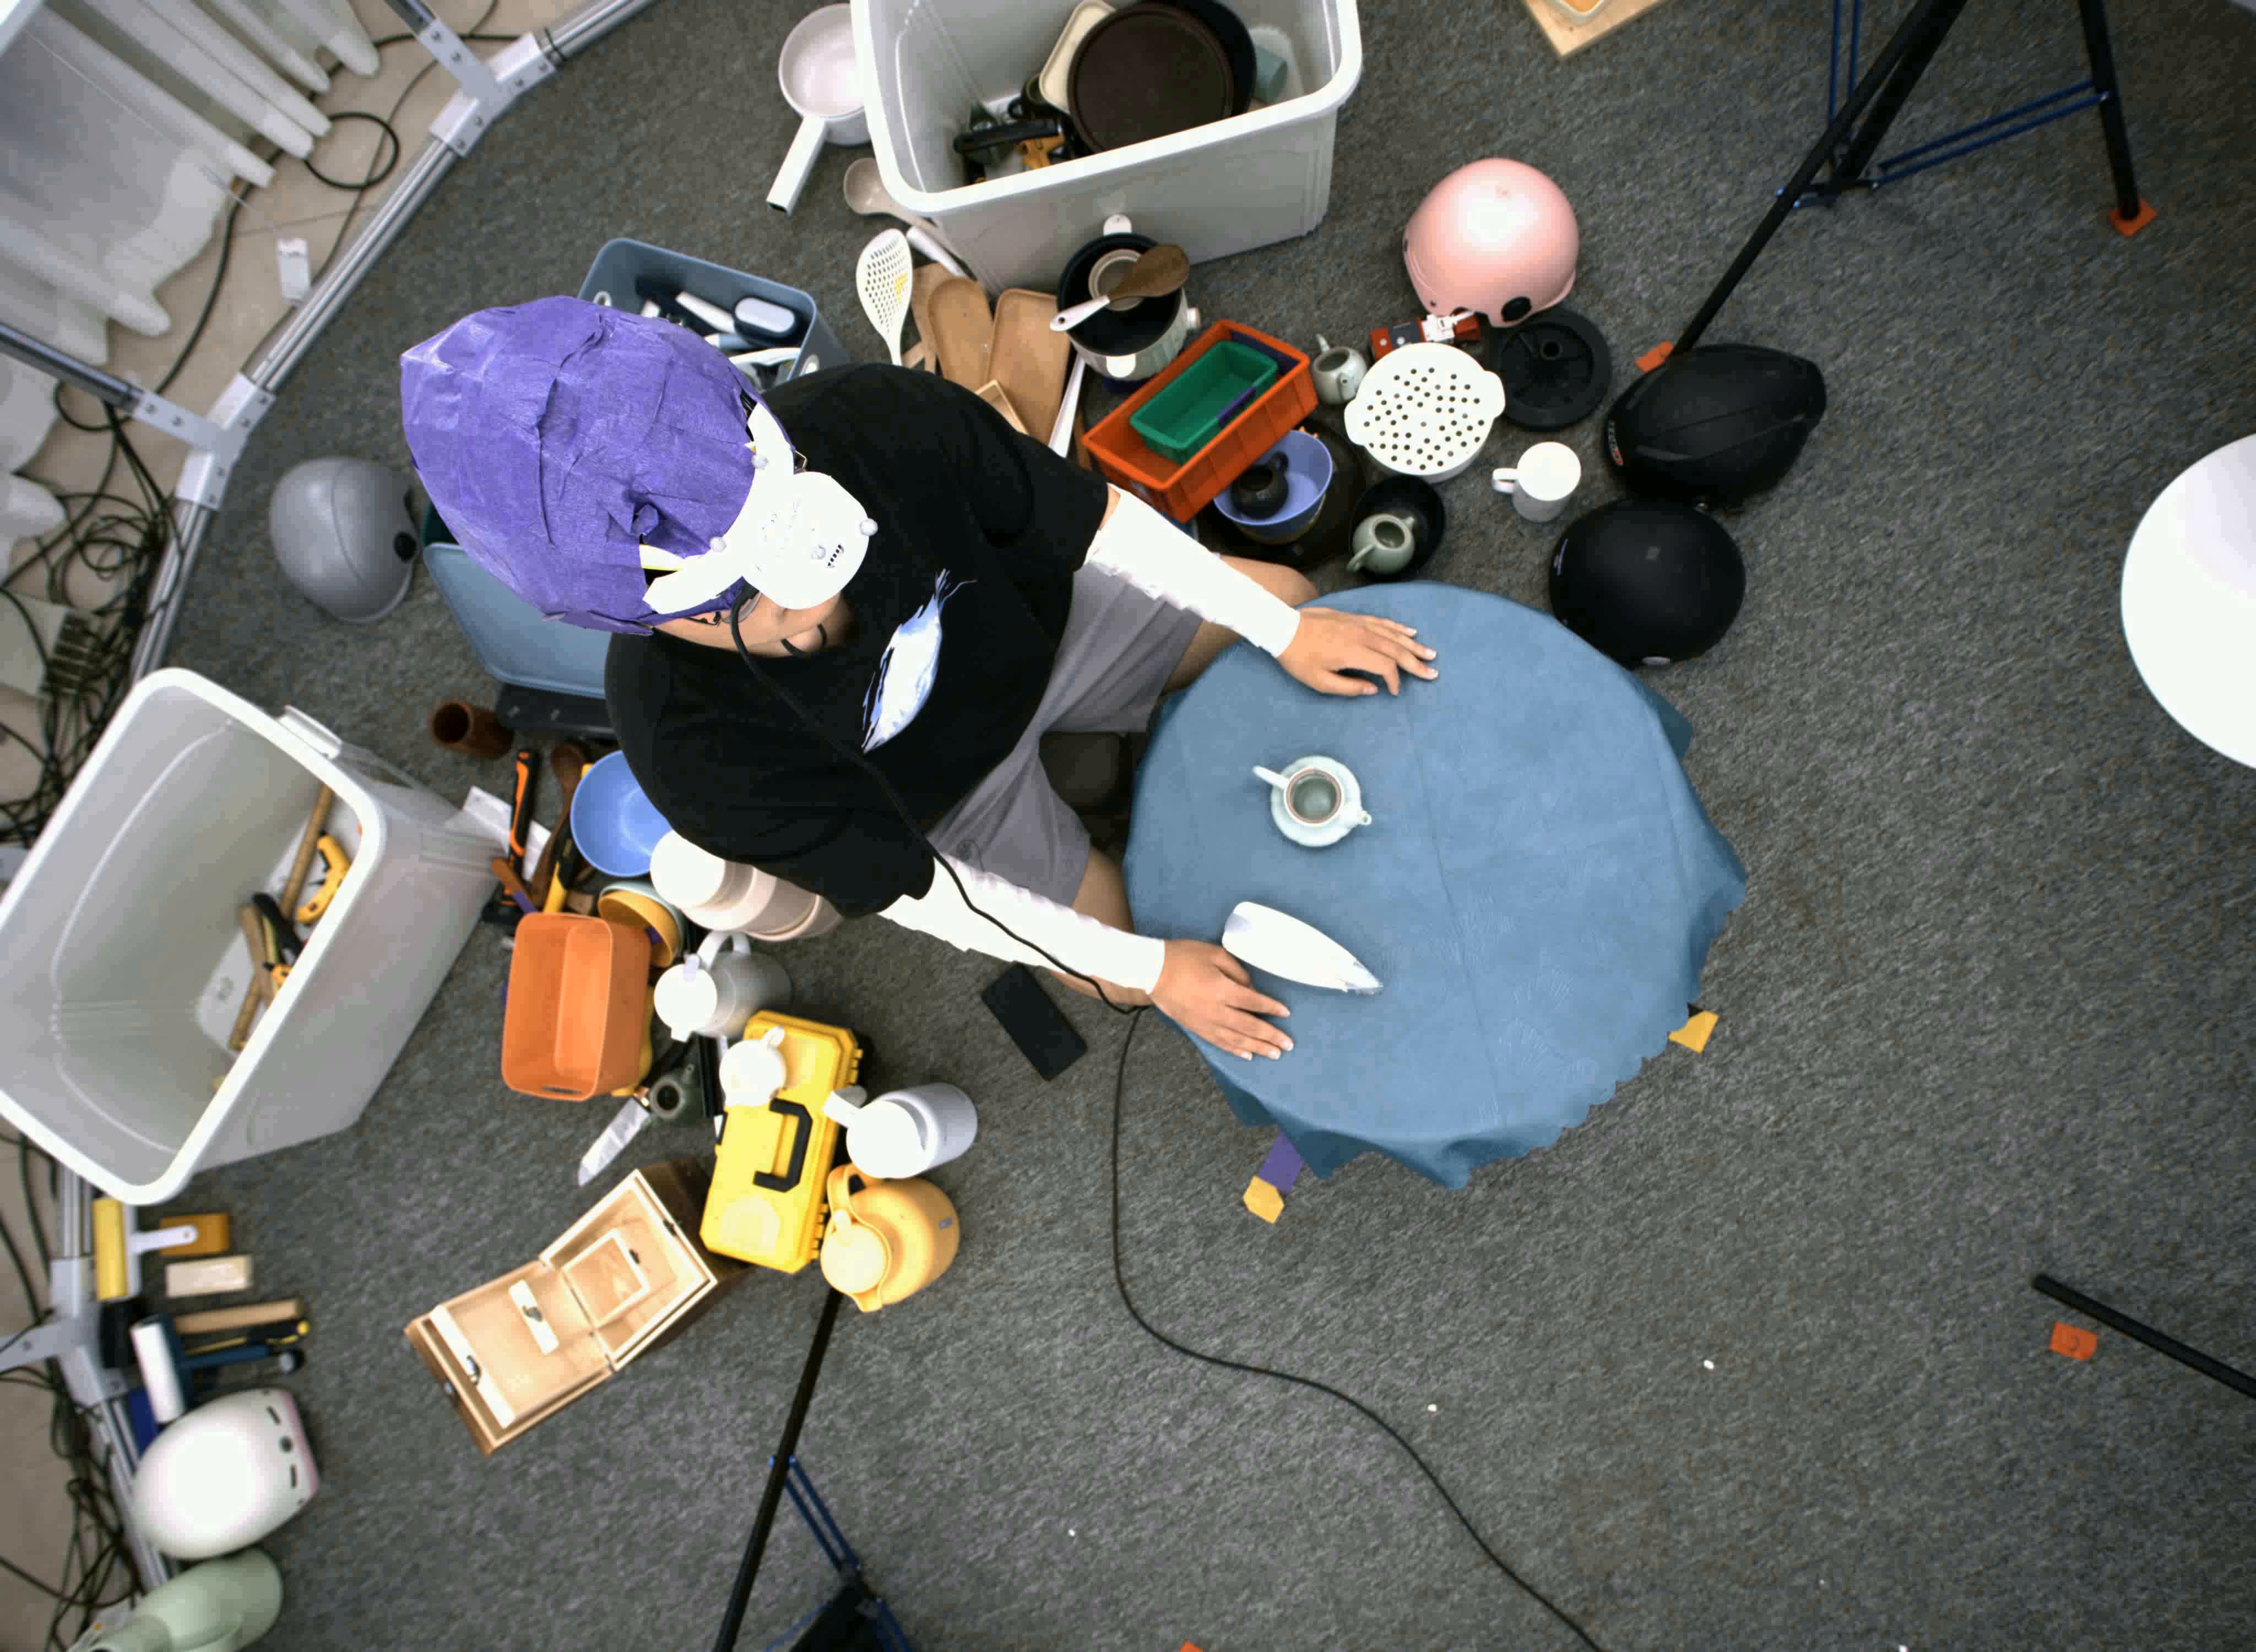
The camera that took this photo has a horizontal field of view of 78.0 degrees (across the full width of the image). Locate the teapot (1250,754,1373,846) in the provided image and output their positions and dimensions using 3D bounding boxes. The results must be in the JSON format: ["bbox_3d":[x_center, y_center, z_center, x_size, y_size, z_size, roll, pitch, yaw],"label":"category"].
[{"bbox_3d":[0.193,-0.031,1.448,0.137,0.061,0.096,23,93,11],"label":"teapot"}]

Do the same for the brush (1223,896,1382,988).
[{"bbox_3d":[0.179,0.127,1.427,0.175,0.094,0.061,23,93,10],"label":"brush"}]
